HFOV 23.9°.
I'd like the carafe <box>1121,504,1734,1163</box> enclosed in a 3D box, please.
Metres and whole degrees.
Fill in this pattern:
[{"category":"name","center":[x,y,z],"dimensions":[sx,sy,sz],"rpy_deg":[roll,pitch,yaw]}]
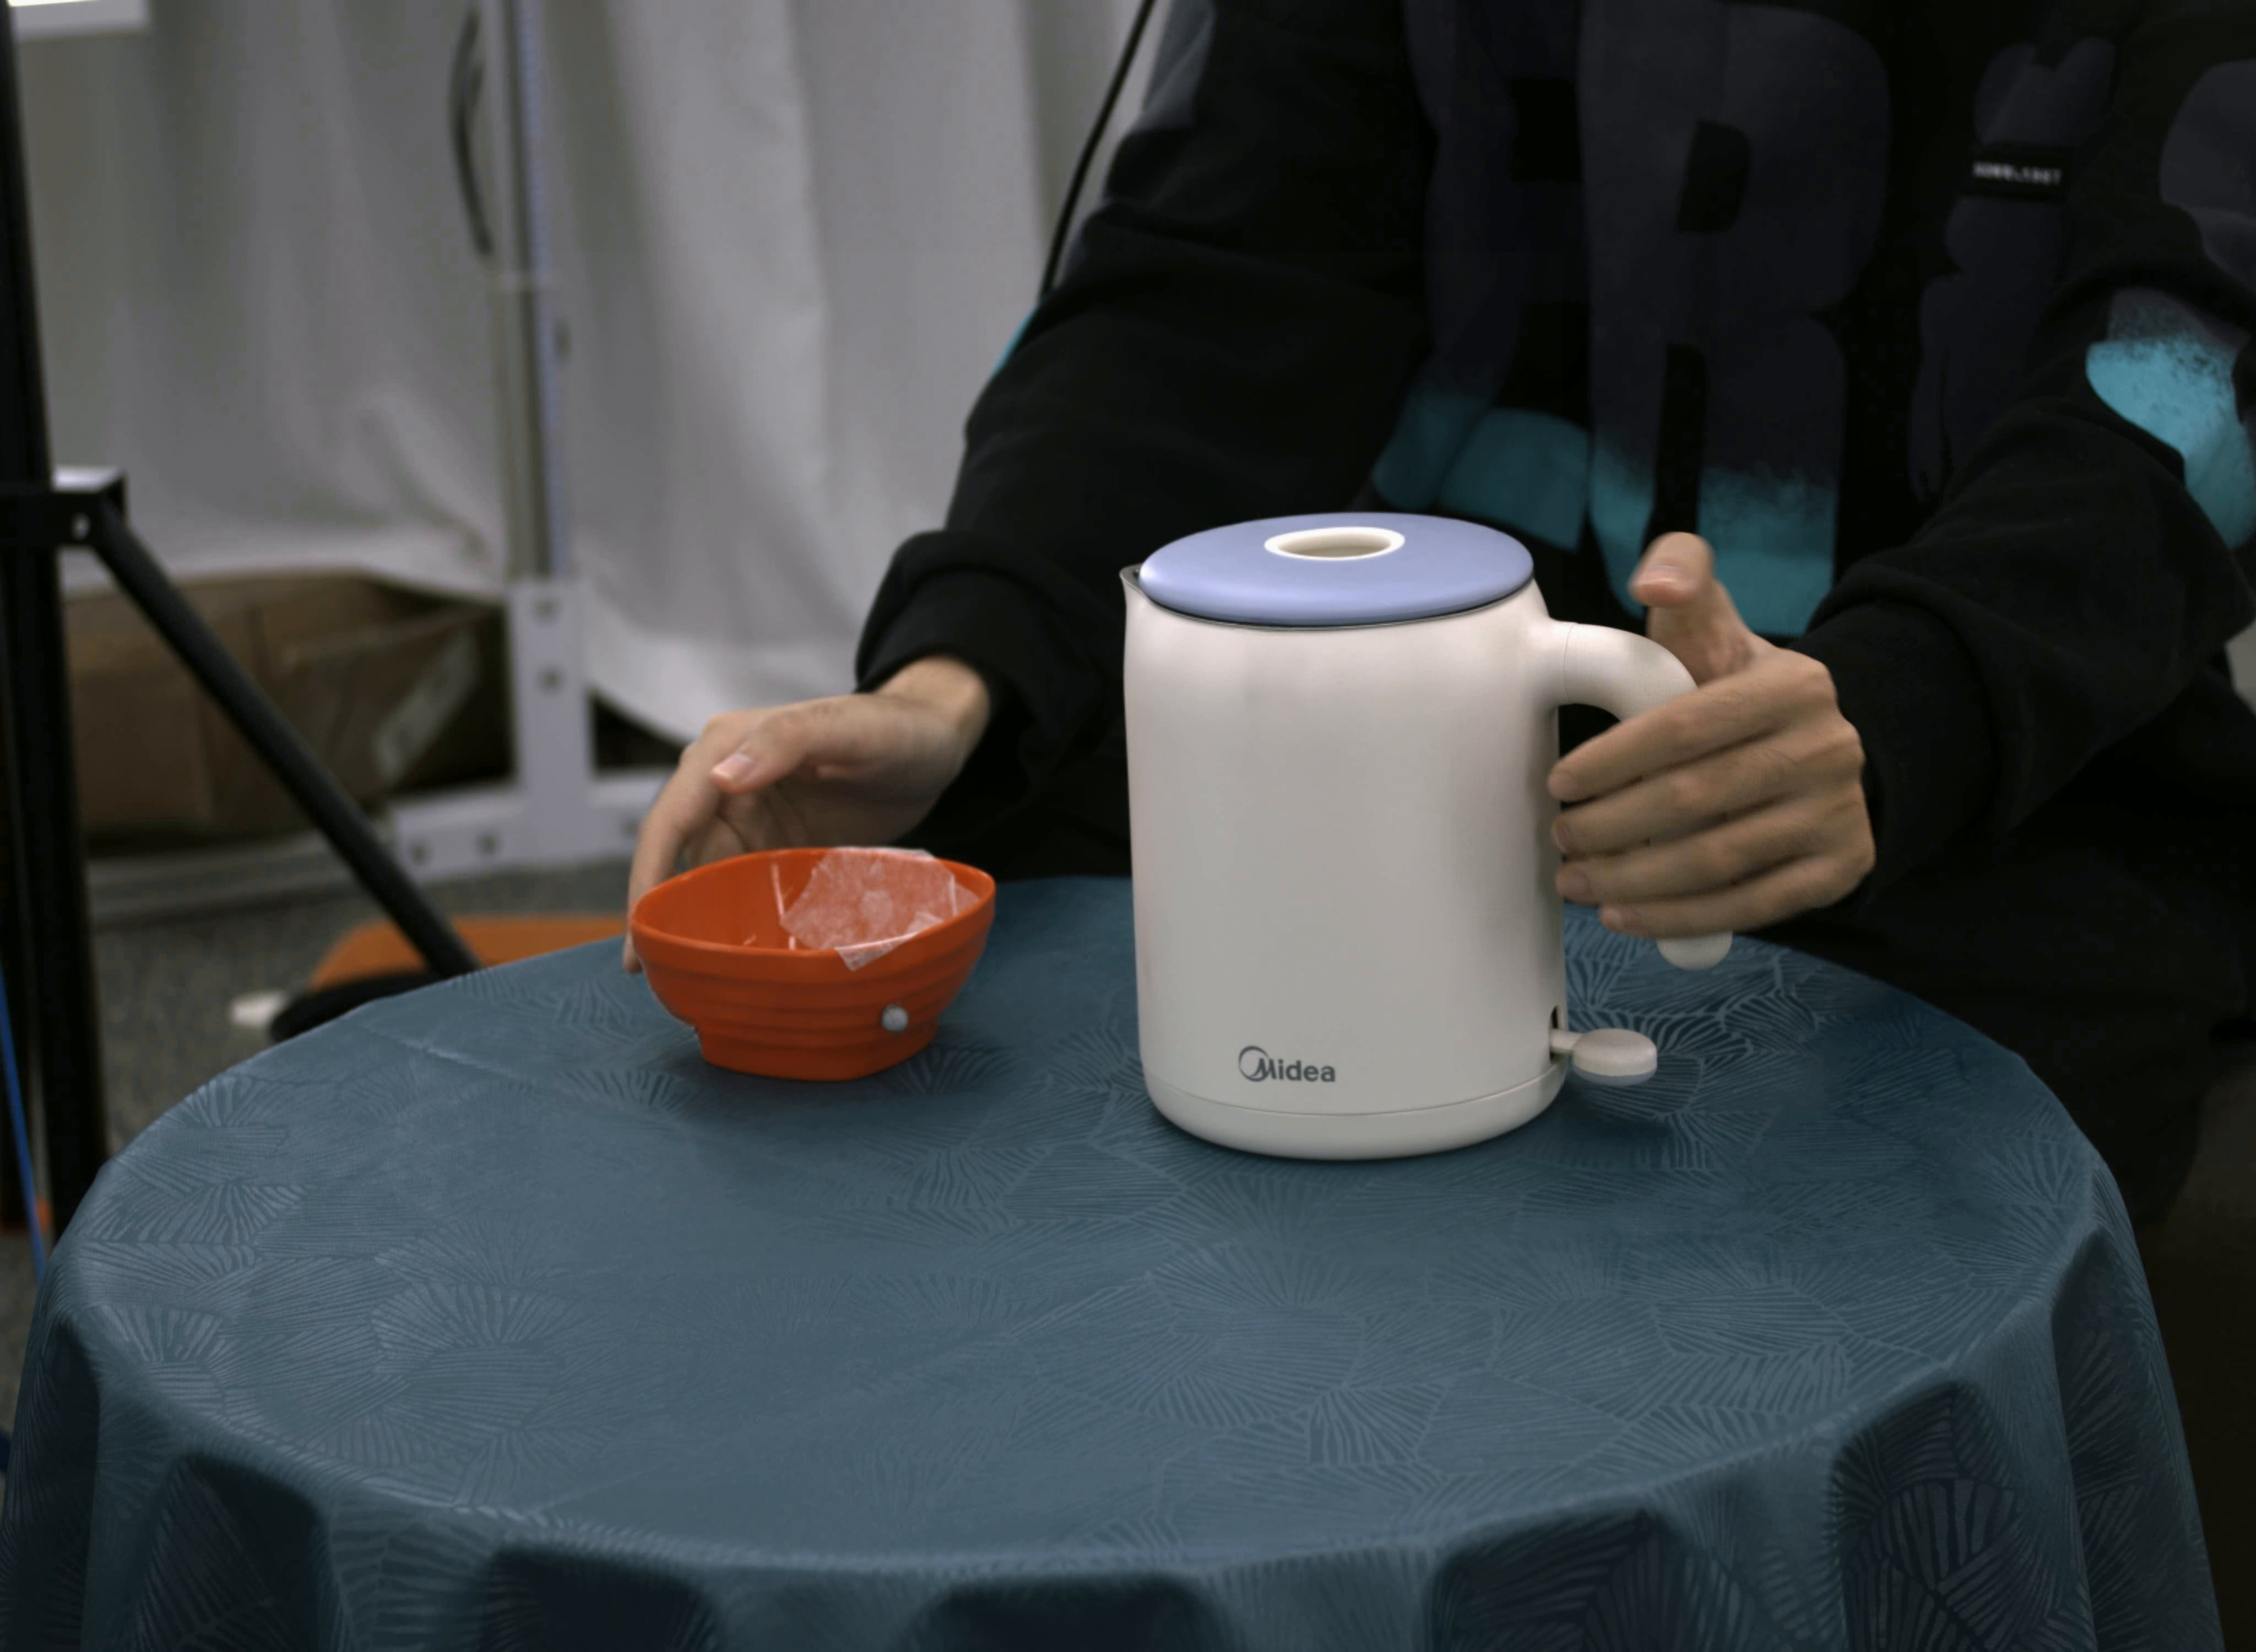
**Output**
[{"category":"carafe","center":[0.089,0.004,1.600],"dimensions":[0.193,0.182,0.131],"rpy_deg":[5,18,19]}]

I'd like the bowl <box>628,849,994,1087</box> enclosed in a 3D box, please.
[{"category":"bowl","center":[-0.098,0.047,1.700],"dimensions":[0.118,0.051,0.119],"rpy_deg":[-7,16,1]}]
